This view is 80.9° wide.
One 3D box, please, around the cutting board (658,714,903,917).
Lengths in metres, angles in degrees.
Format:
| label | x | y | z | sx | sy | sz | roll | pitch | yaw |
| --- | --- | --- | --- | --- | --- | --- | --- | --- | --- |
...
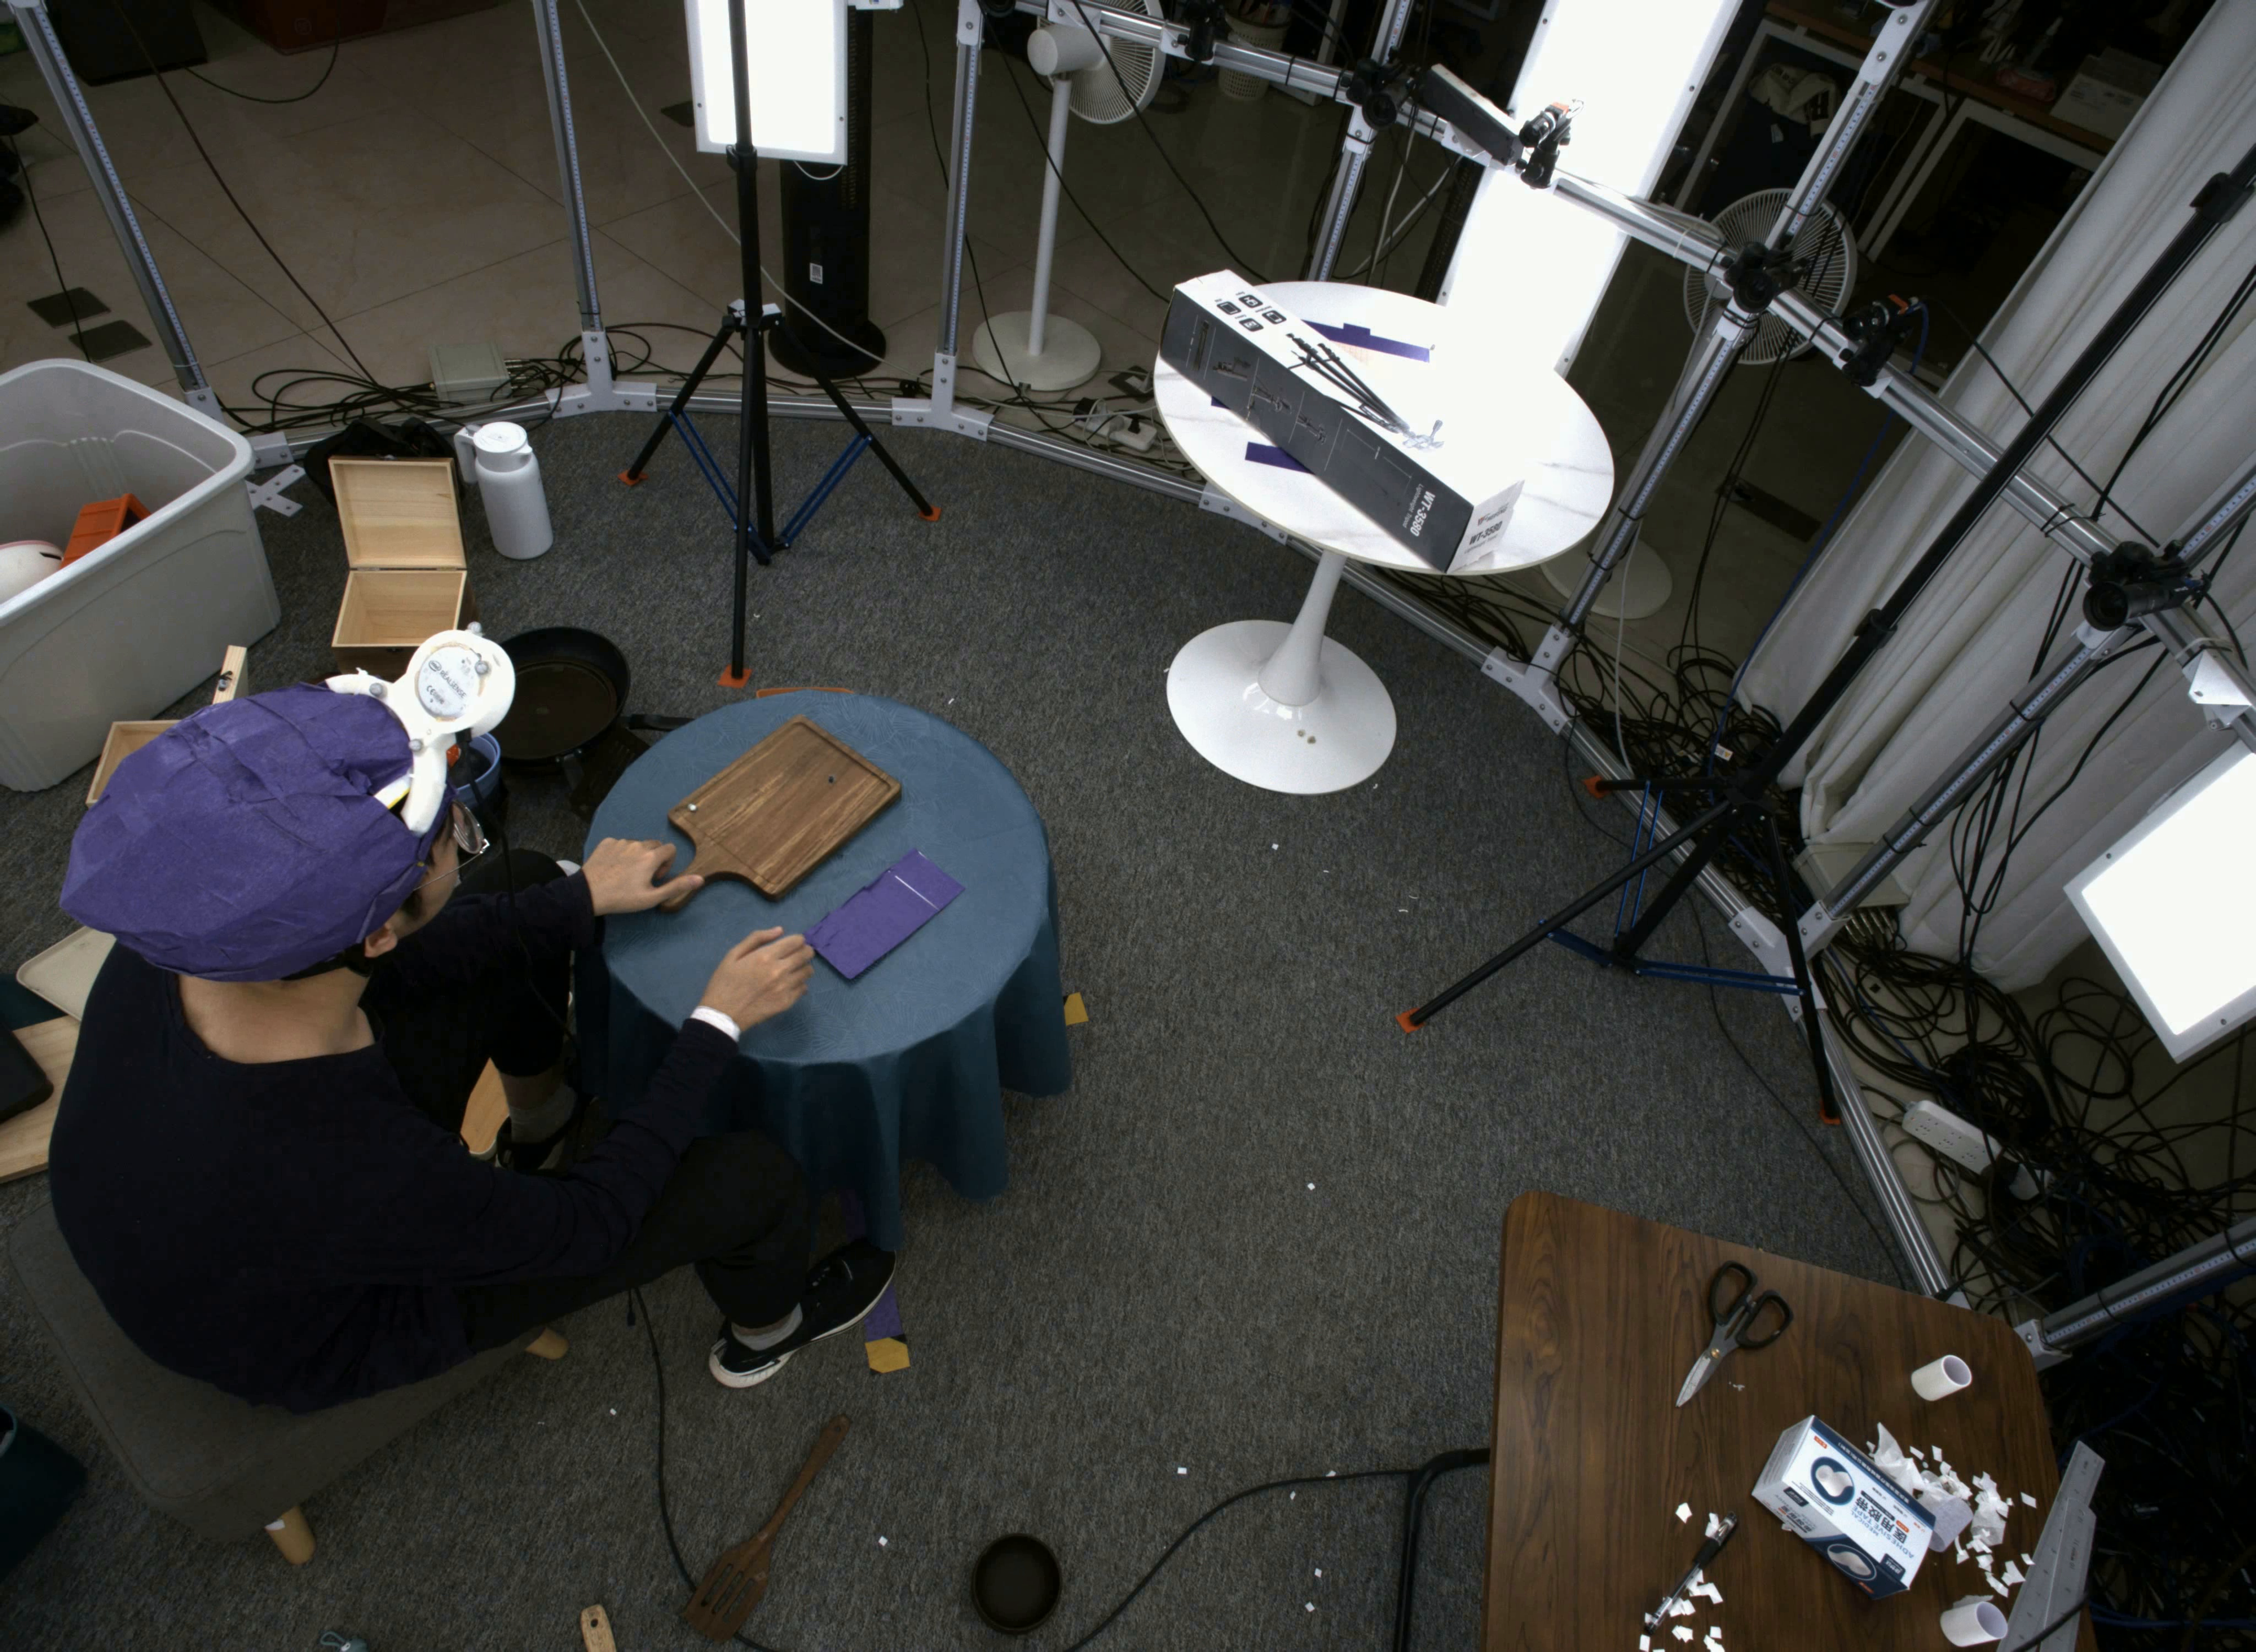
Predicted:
| label | x | y | z | sx | sy | sz | roll | pitch | yaw |
| --- | --- | --- | --- | --- | --- | --- | --- | --- | --- |
| cutting board | -0.484 | -0.002 | 1.708 | 0.197 | 0.023 | 0.352 | 35 | 54 | 12 |

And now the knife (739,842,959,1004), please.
| label | x | y | z | sx | sy | sz | roll | pitch | yaw |
| --- | --- | --- | --- | --- | --- | --- | --- | --- | --- |
| knife | -0.343 | 0.131 | 1.641 | 0.102 | 0.033 | 0.315 | 37 | 54 | 14 |
